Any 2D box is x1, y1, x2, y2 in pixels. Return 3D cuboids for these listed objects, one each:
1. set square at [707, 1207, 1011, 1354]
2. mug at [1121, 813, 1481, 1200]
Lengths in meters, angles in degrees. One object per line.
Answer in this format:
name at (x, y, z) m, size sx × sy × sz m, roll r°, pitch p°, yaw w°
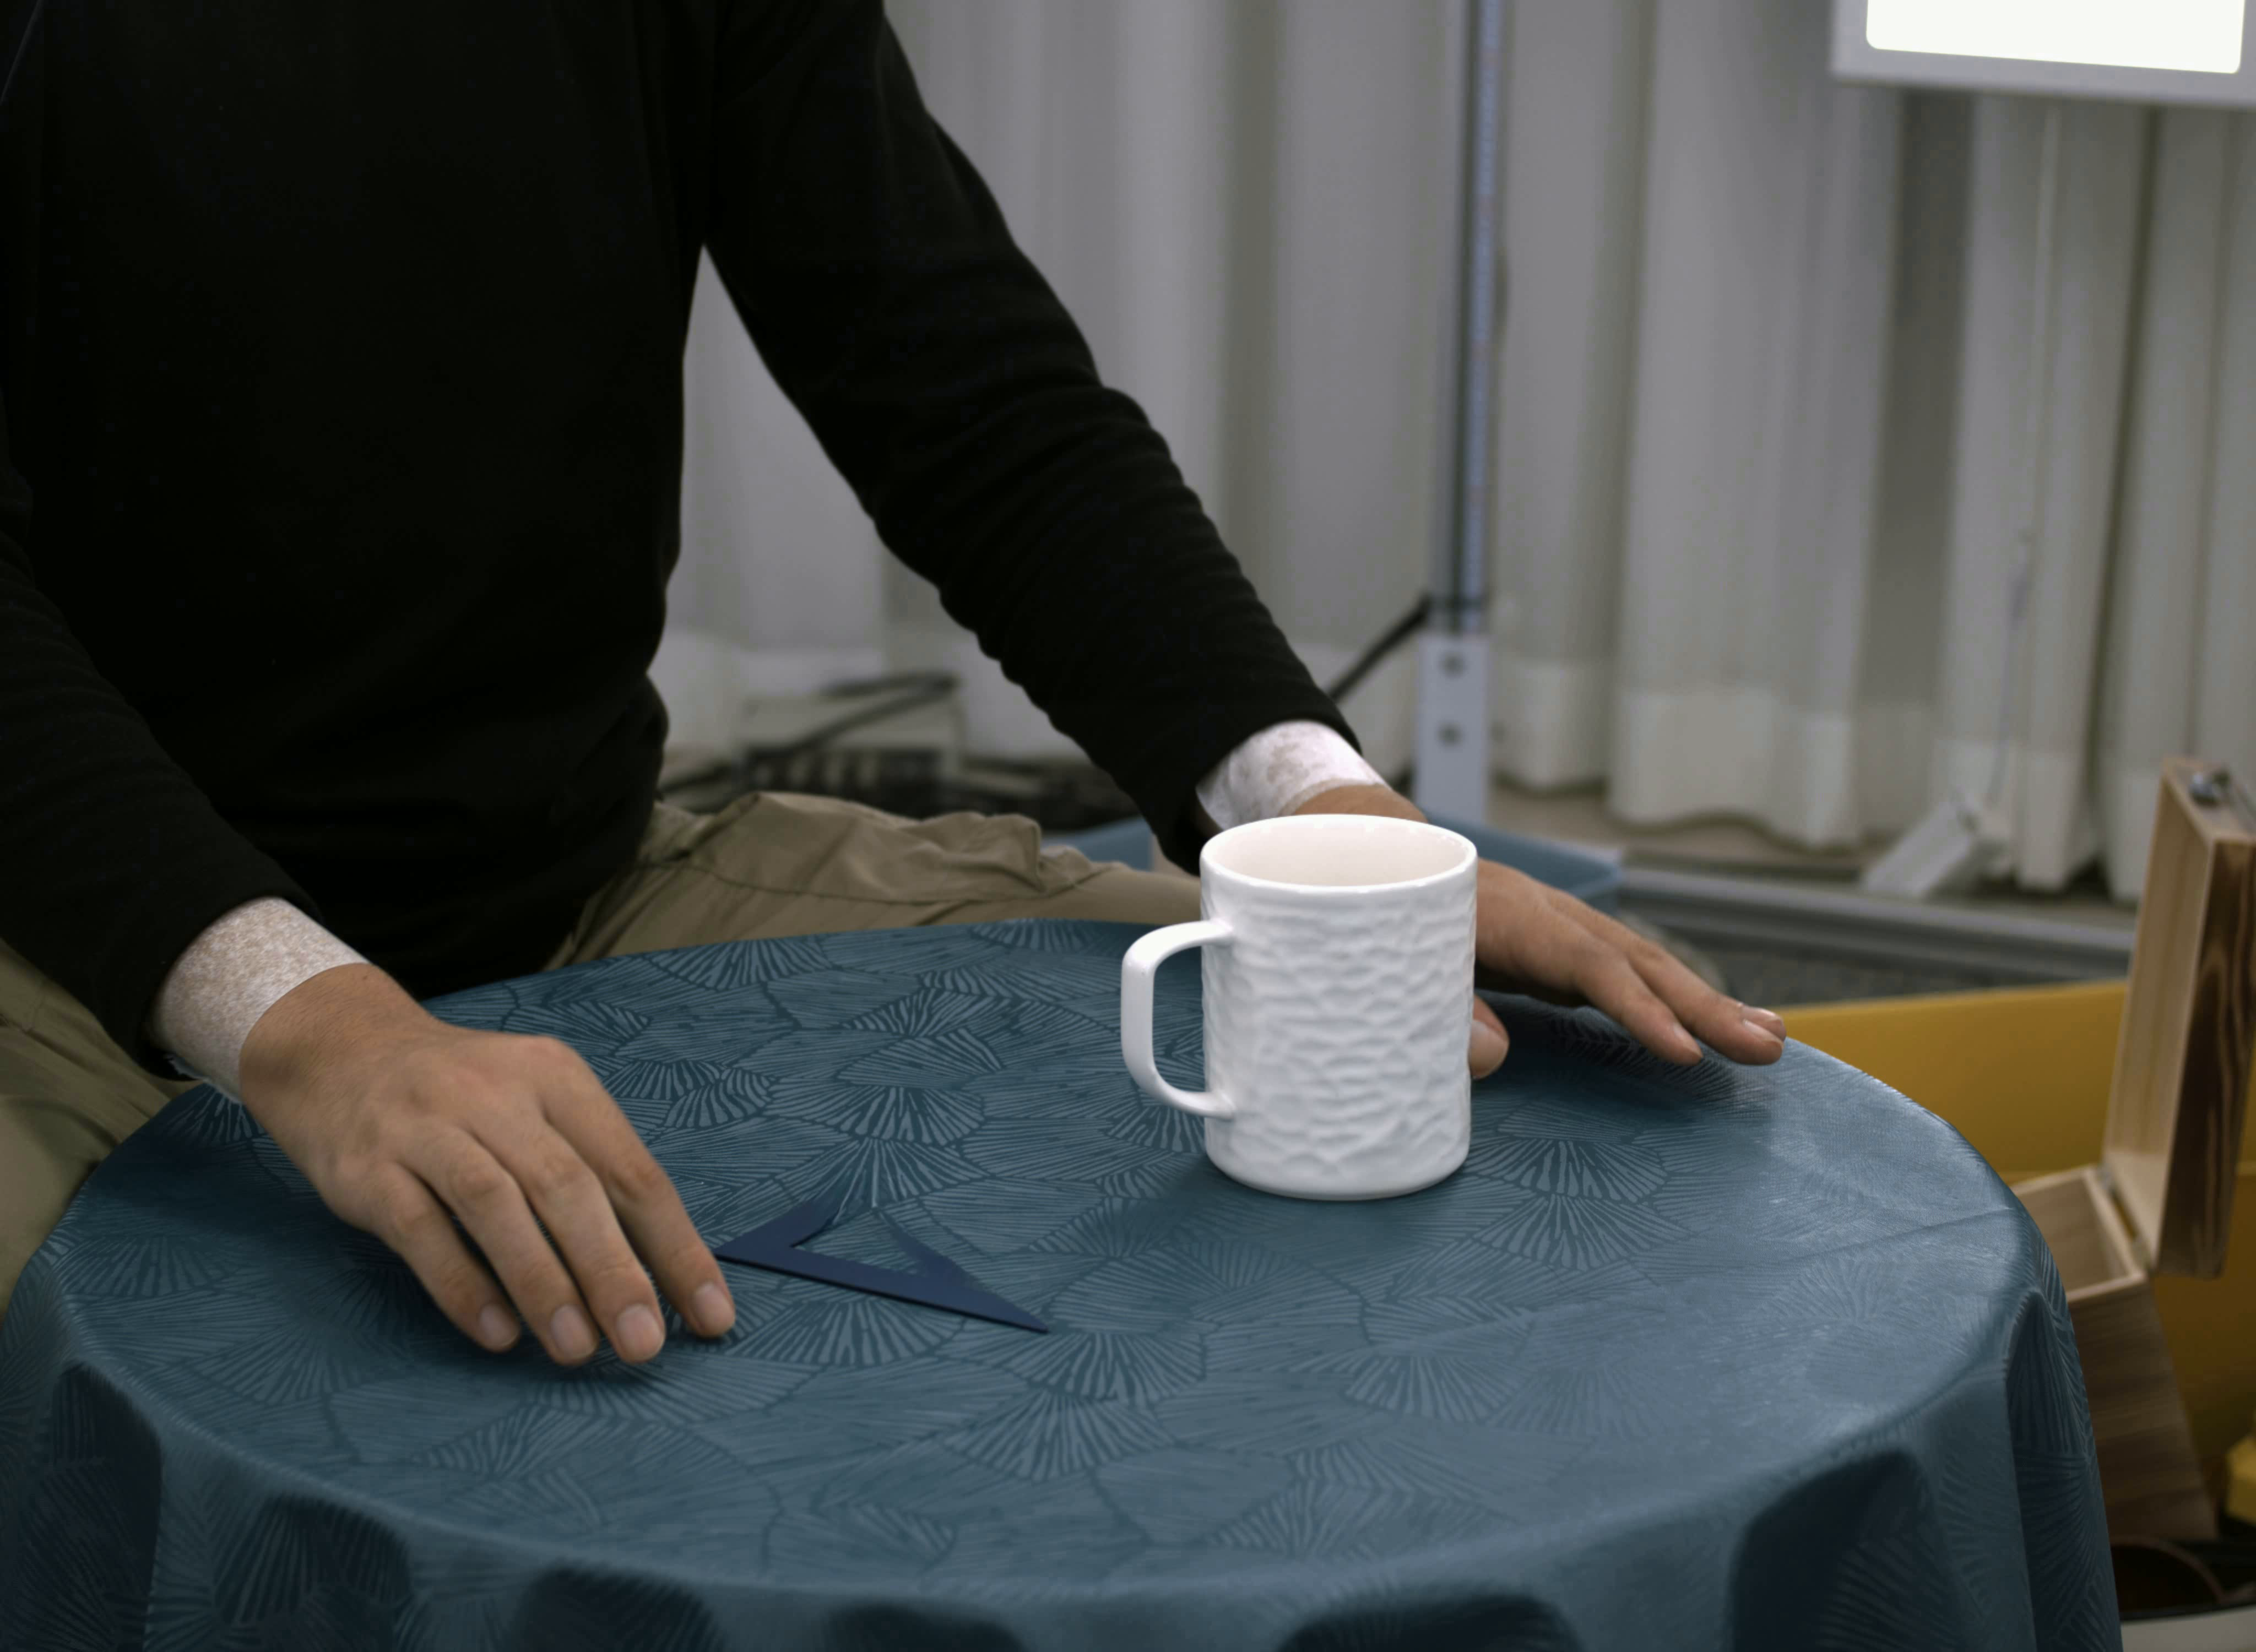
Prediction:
set square at (-0.082, 0.133, 1.535) m, size 0.061 × 0.006 × 0.130 m, roll -5°, pitch 16°, yaw -24°
mug at (0.052, 0.058, 1.627) m, size 0.119 × 0.103 × 0.084 m, roll -8°, pitch 18°, yaw -29°
